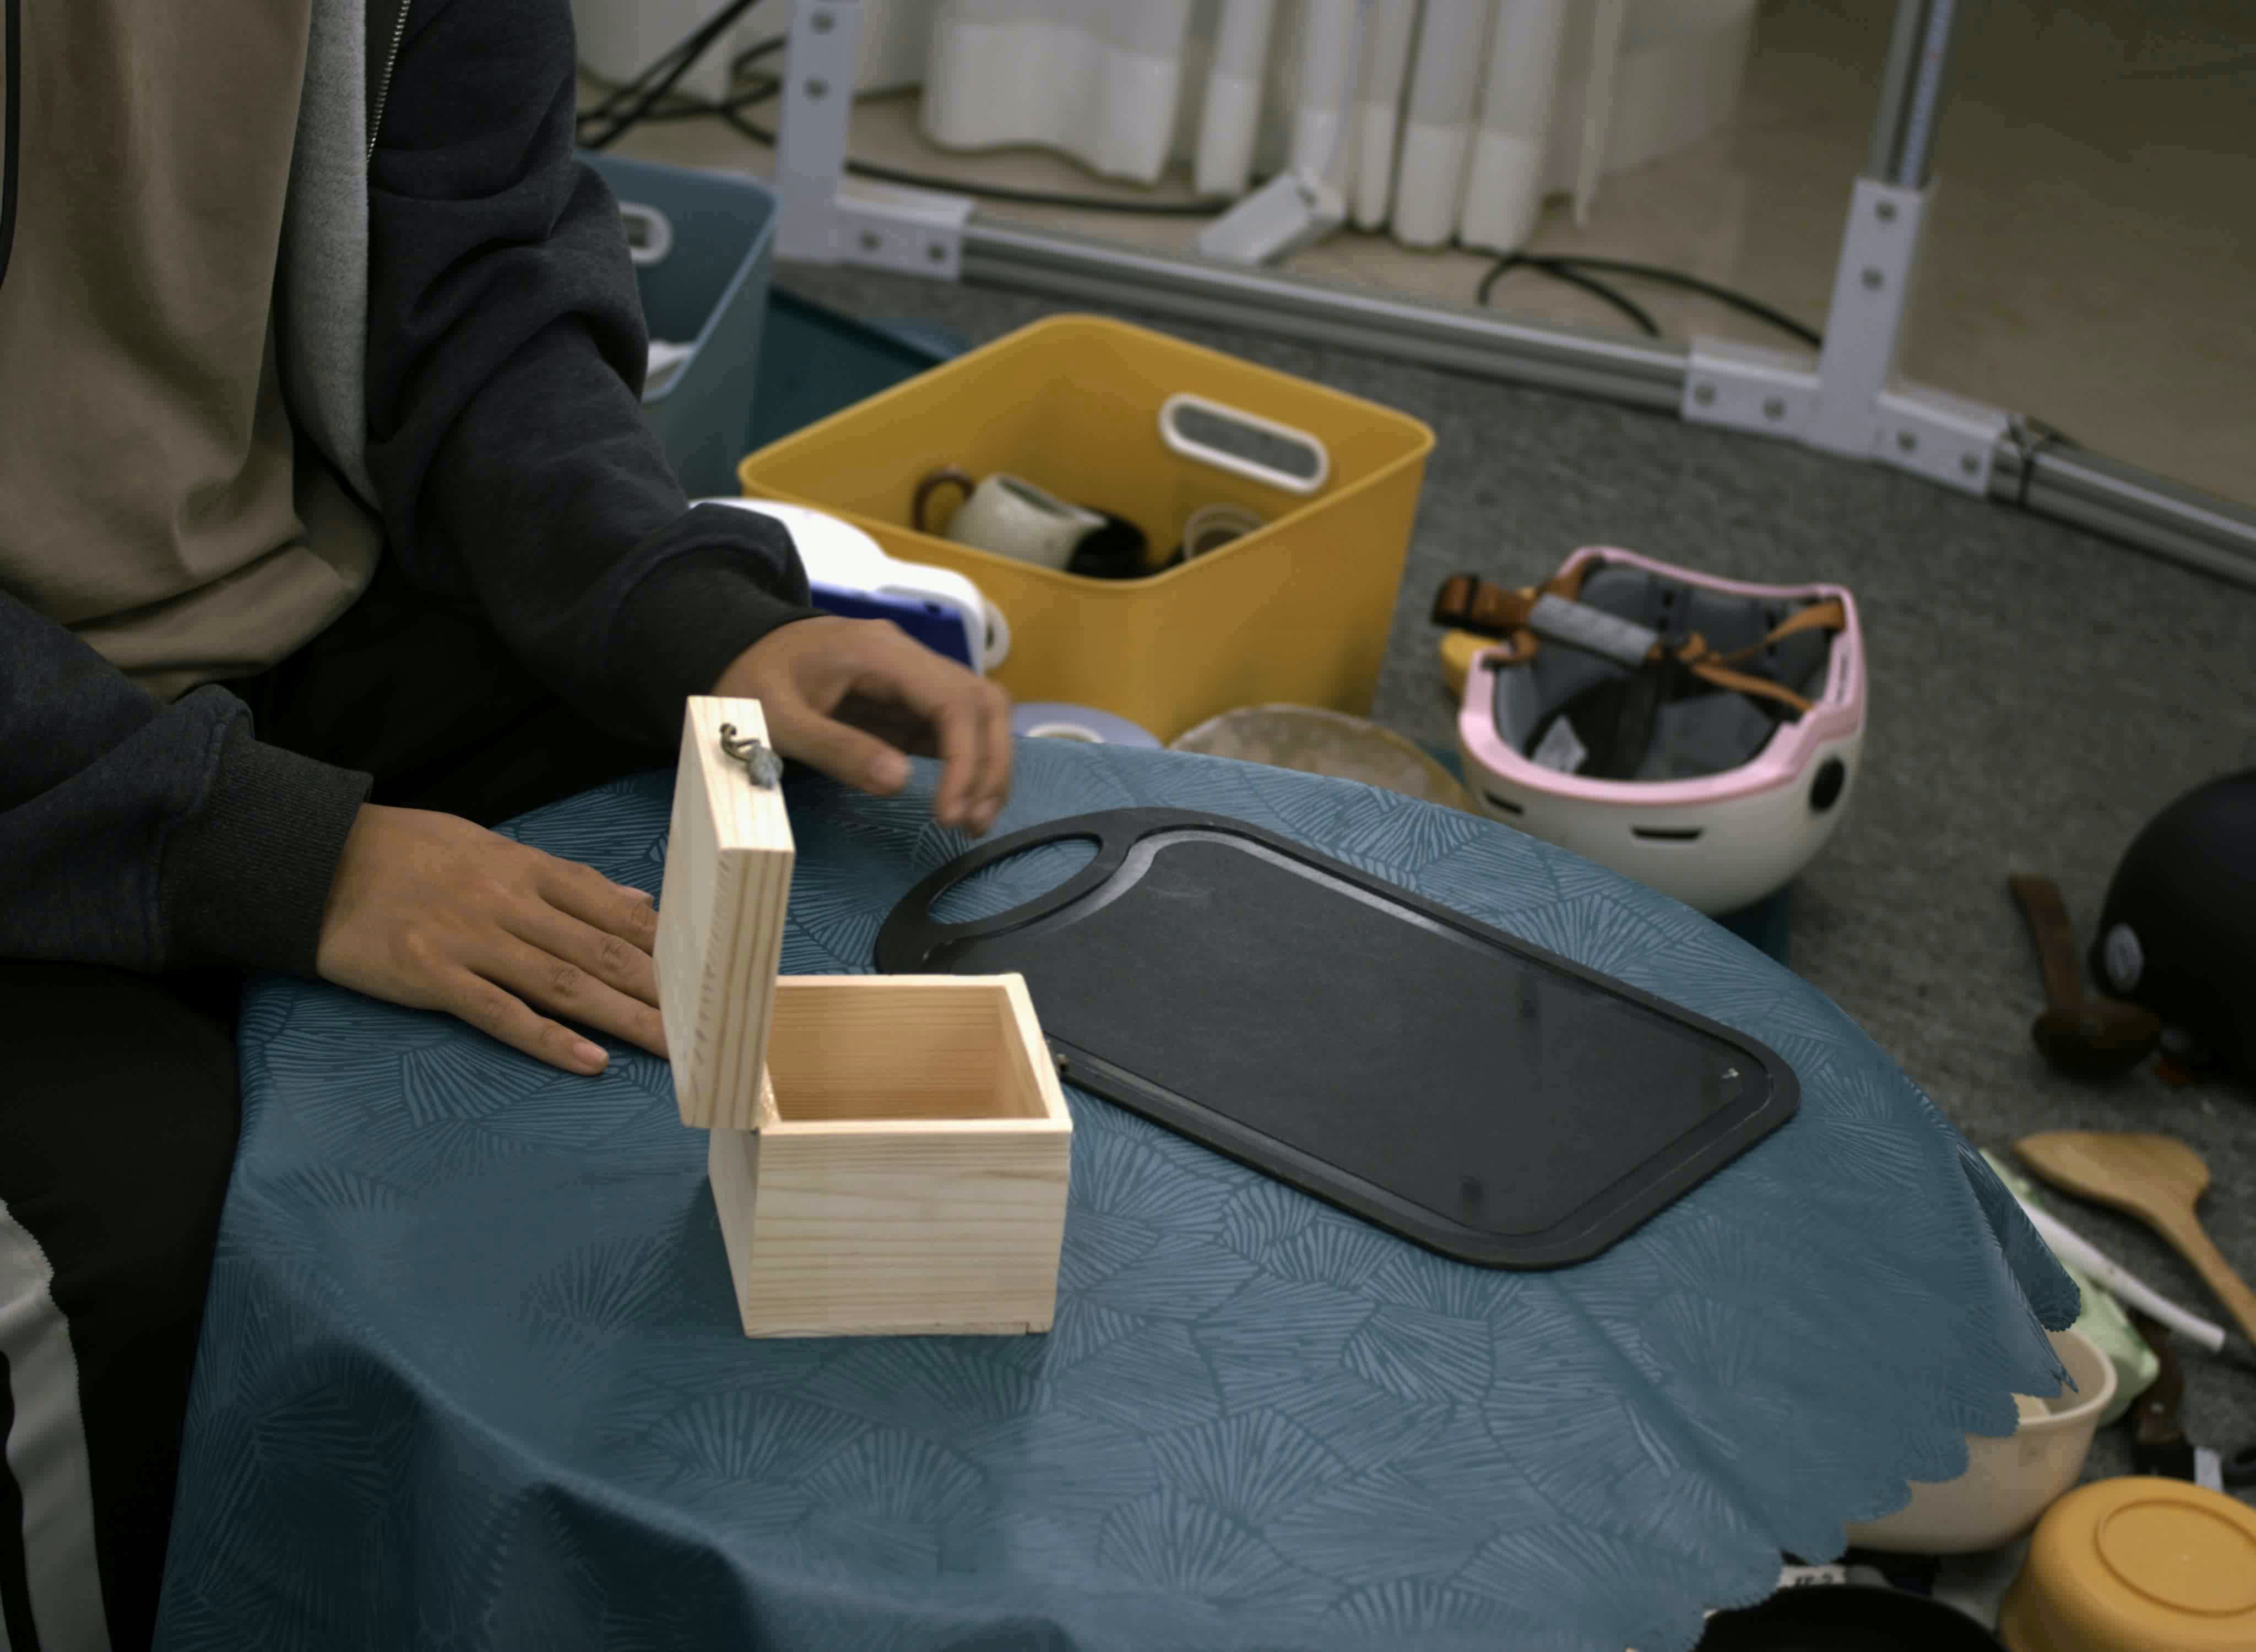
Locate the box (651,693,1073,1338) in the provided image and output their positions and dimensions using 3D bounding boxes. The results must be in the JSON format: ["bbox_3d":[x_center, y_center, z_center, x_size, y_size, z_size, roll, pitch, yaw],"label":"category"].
[{"bbox_3d":[-0.083,0.060,1.706,0.133,0.184,0.103,0,28,-12],"label":"box"}]

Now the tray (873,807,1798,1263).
[{"bbox_3d":[0.067,0.067,1.921,0.327,0.010,0.210,24,31,30],"label":"tray"}]
